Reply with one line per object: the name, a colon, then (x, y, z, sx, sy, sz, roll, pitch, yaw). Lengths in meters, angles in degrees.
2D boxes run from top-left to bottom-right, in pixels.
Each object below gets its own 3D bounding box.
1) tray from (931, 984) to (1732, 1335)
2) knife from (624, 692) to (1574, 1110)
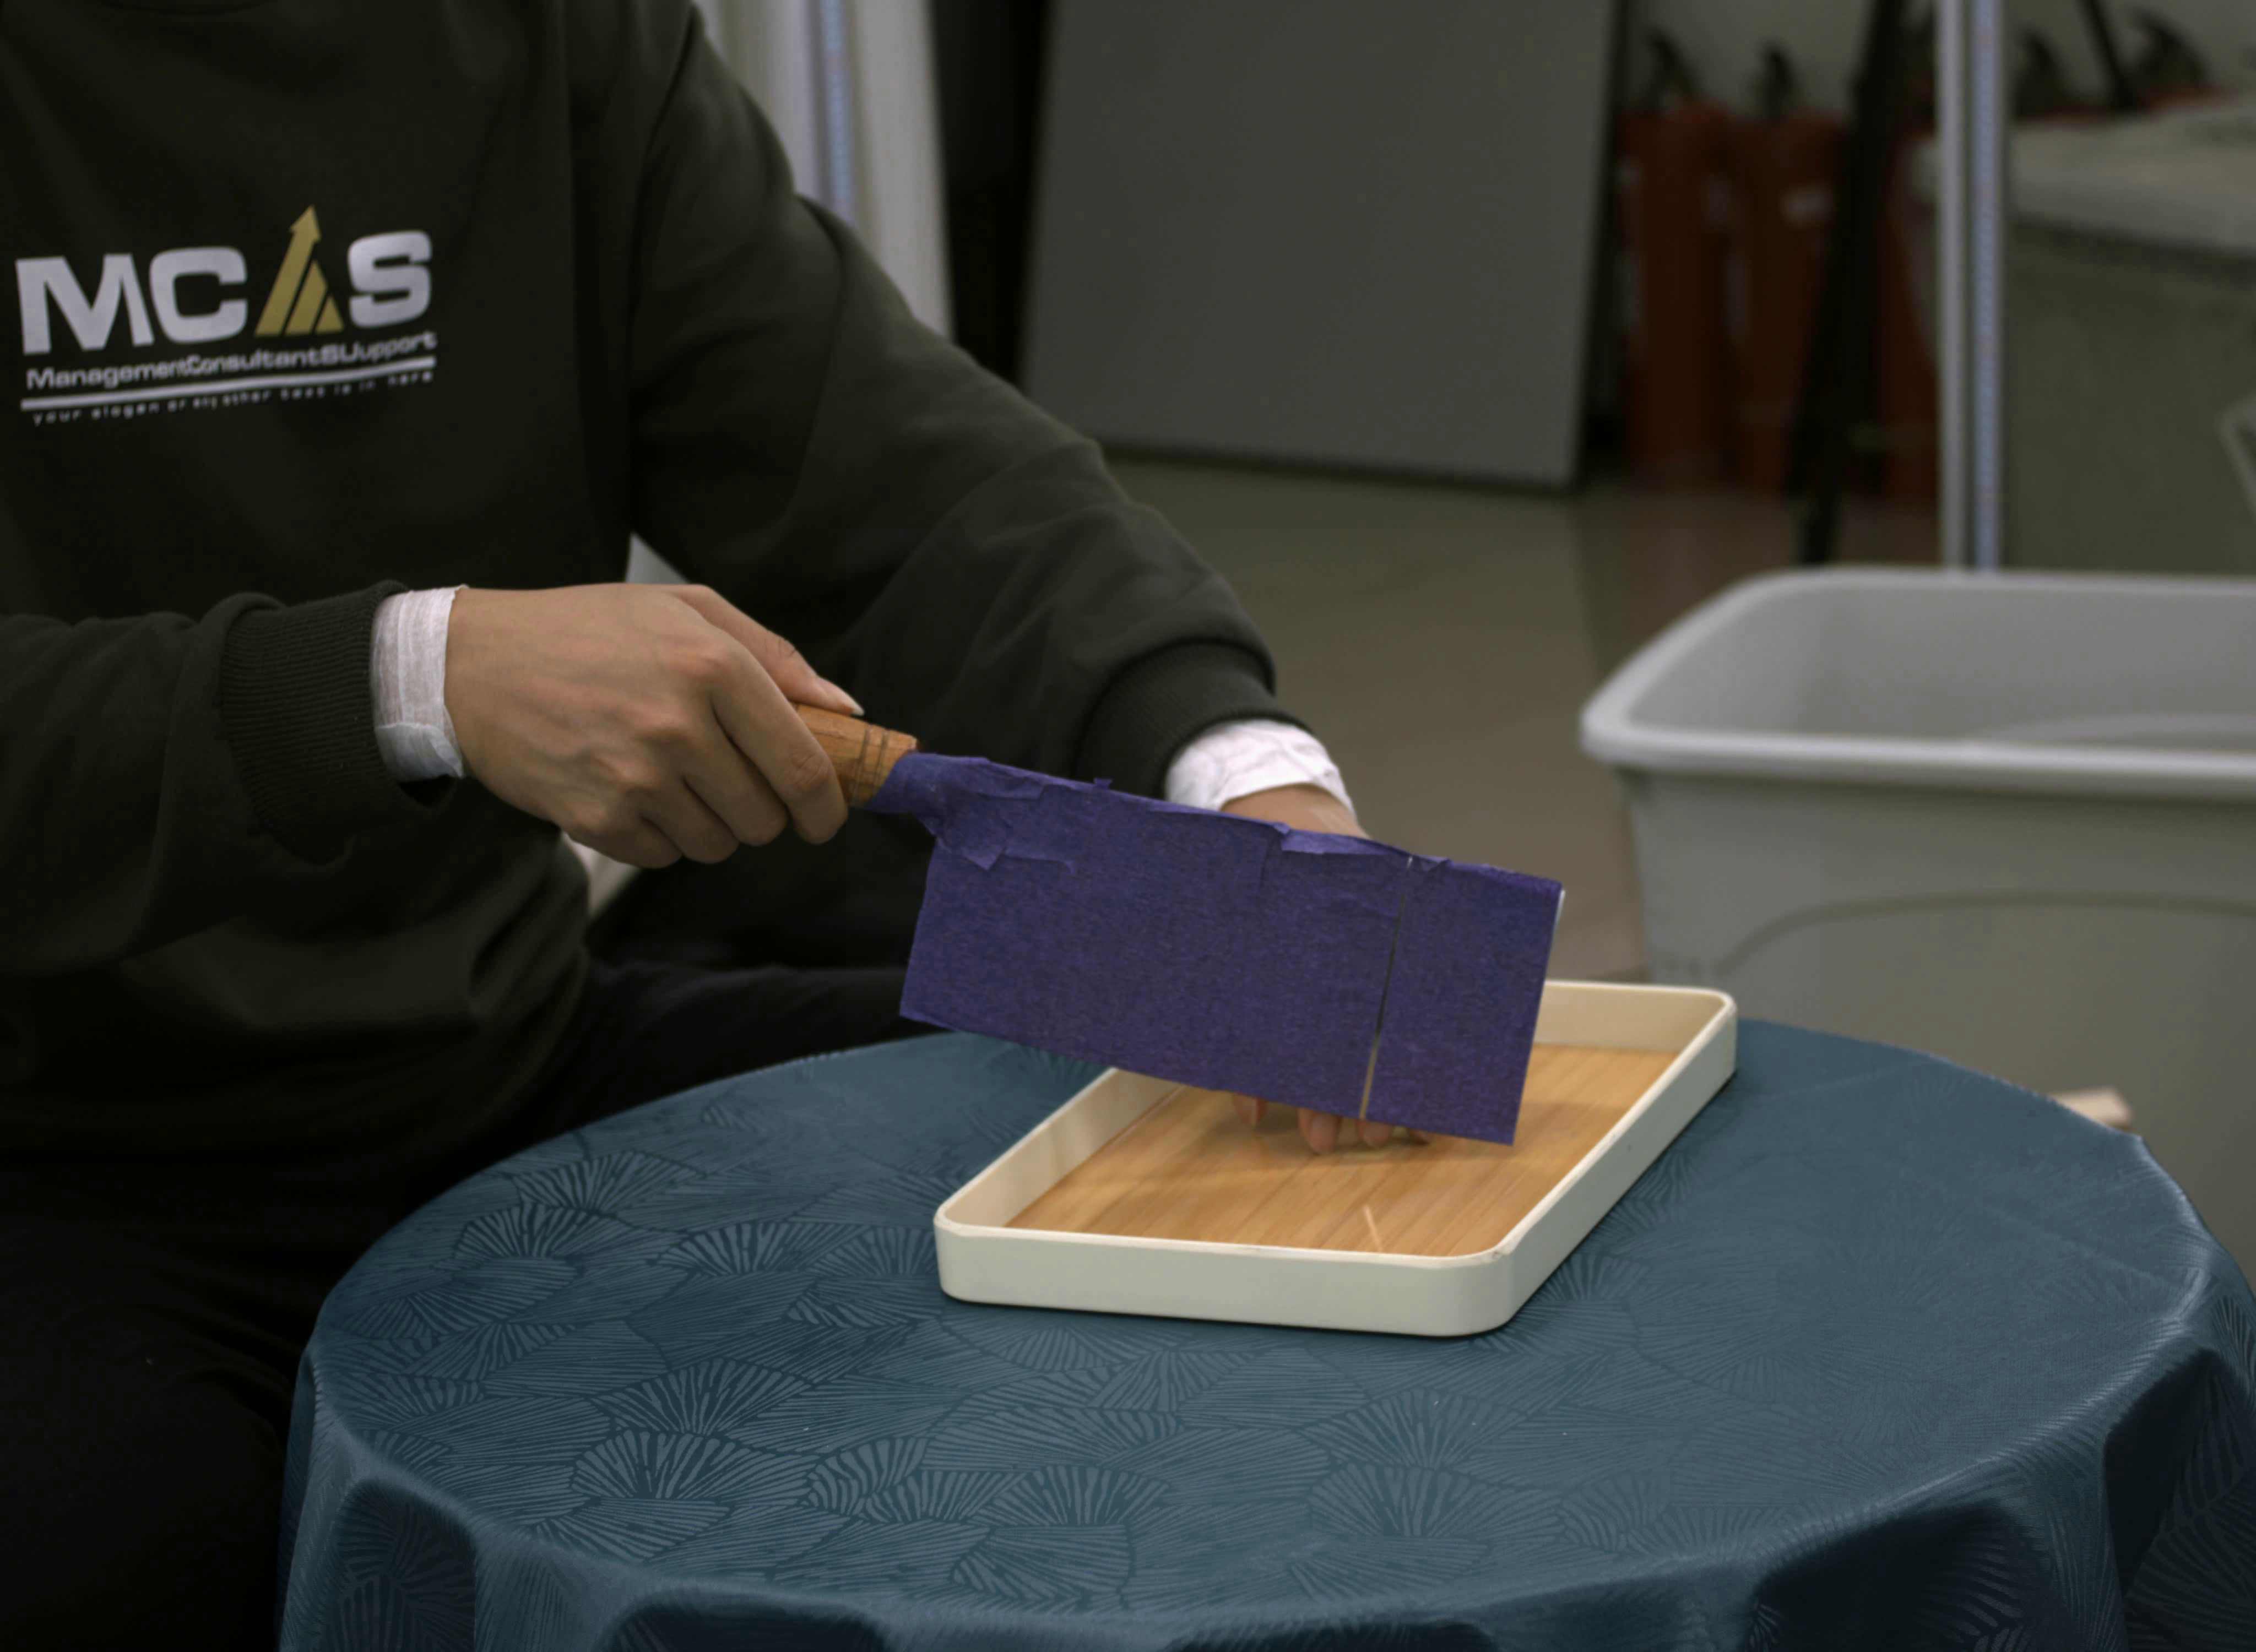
tray: (0.074, 0.104, 1.769, 0.191, 0.028, 0.297, 1, 14, 22)
knife: (-0.015, 0.028, 1.748, 0.312, 0.105, 0.032, 11, 6, 3)
